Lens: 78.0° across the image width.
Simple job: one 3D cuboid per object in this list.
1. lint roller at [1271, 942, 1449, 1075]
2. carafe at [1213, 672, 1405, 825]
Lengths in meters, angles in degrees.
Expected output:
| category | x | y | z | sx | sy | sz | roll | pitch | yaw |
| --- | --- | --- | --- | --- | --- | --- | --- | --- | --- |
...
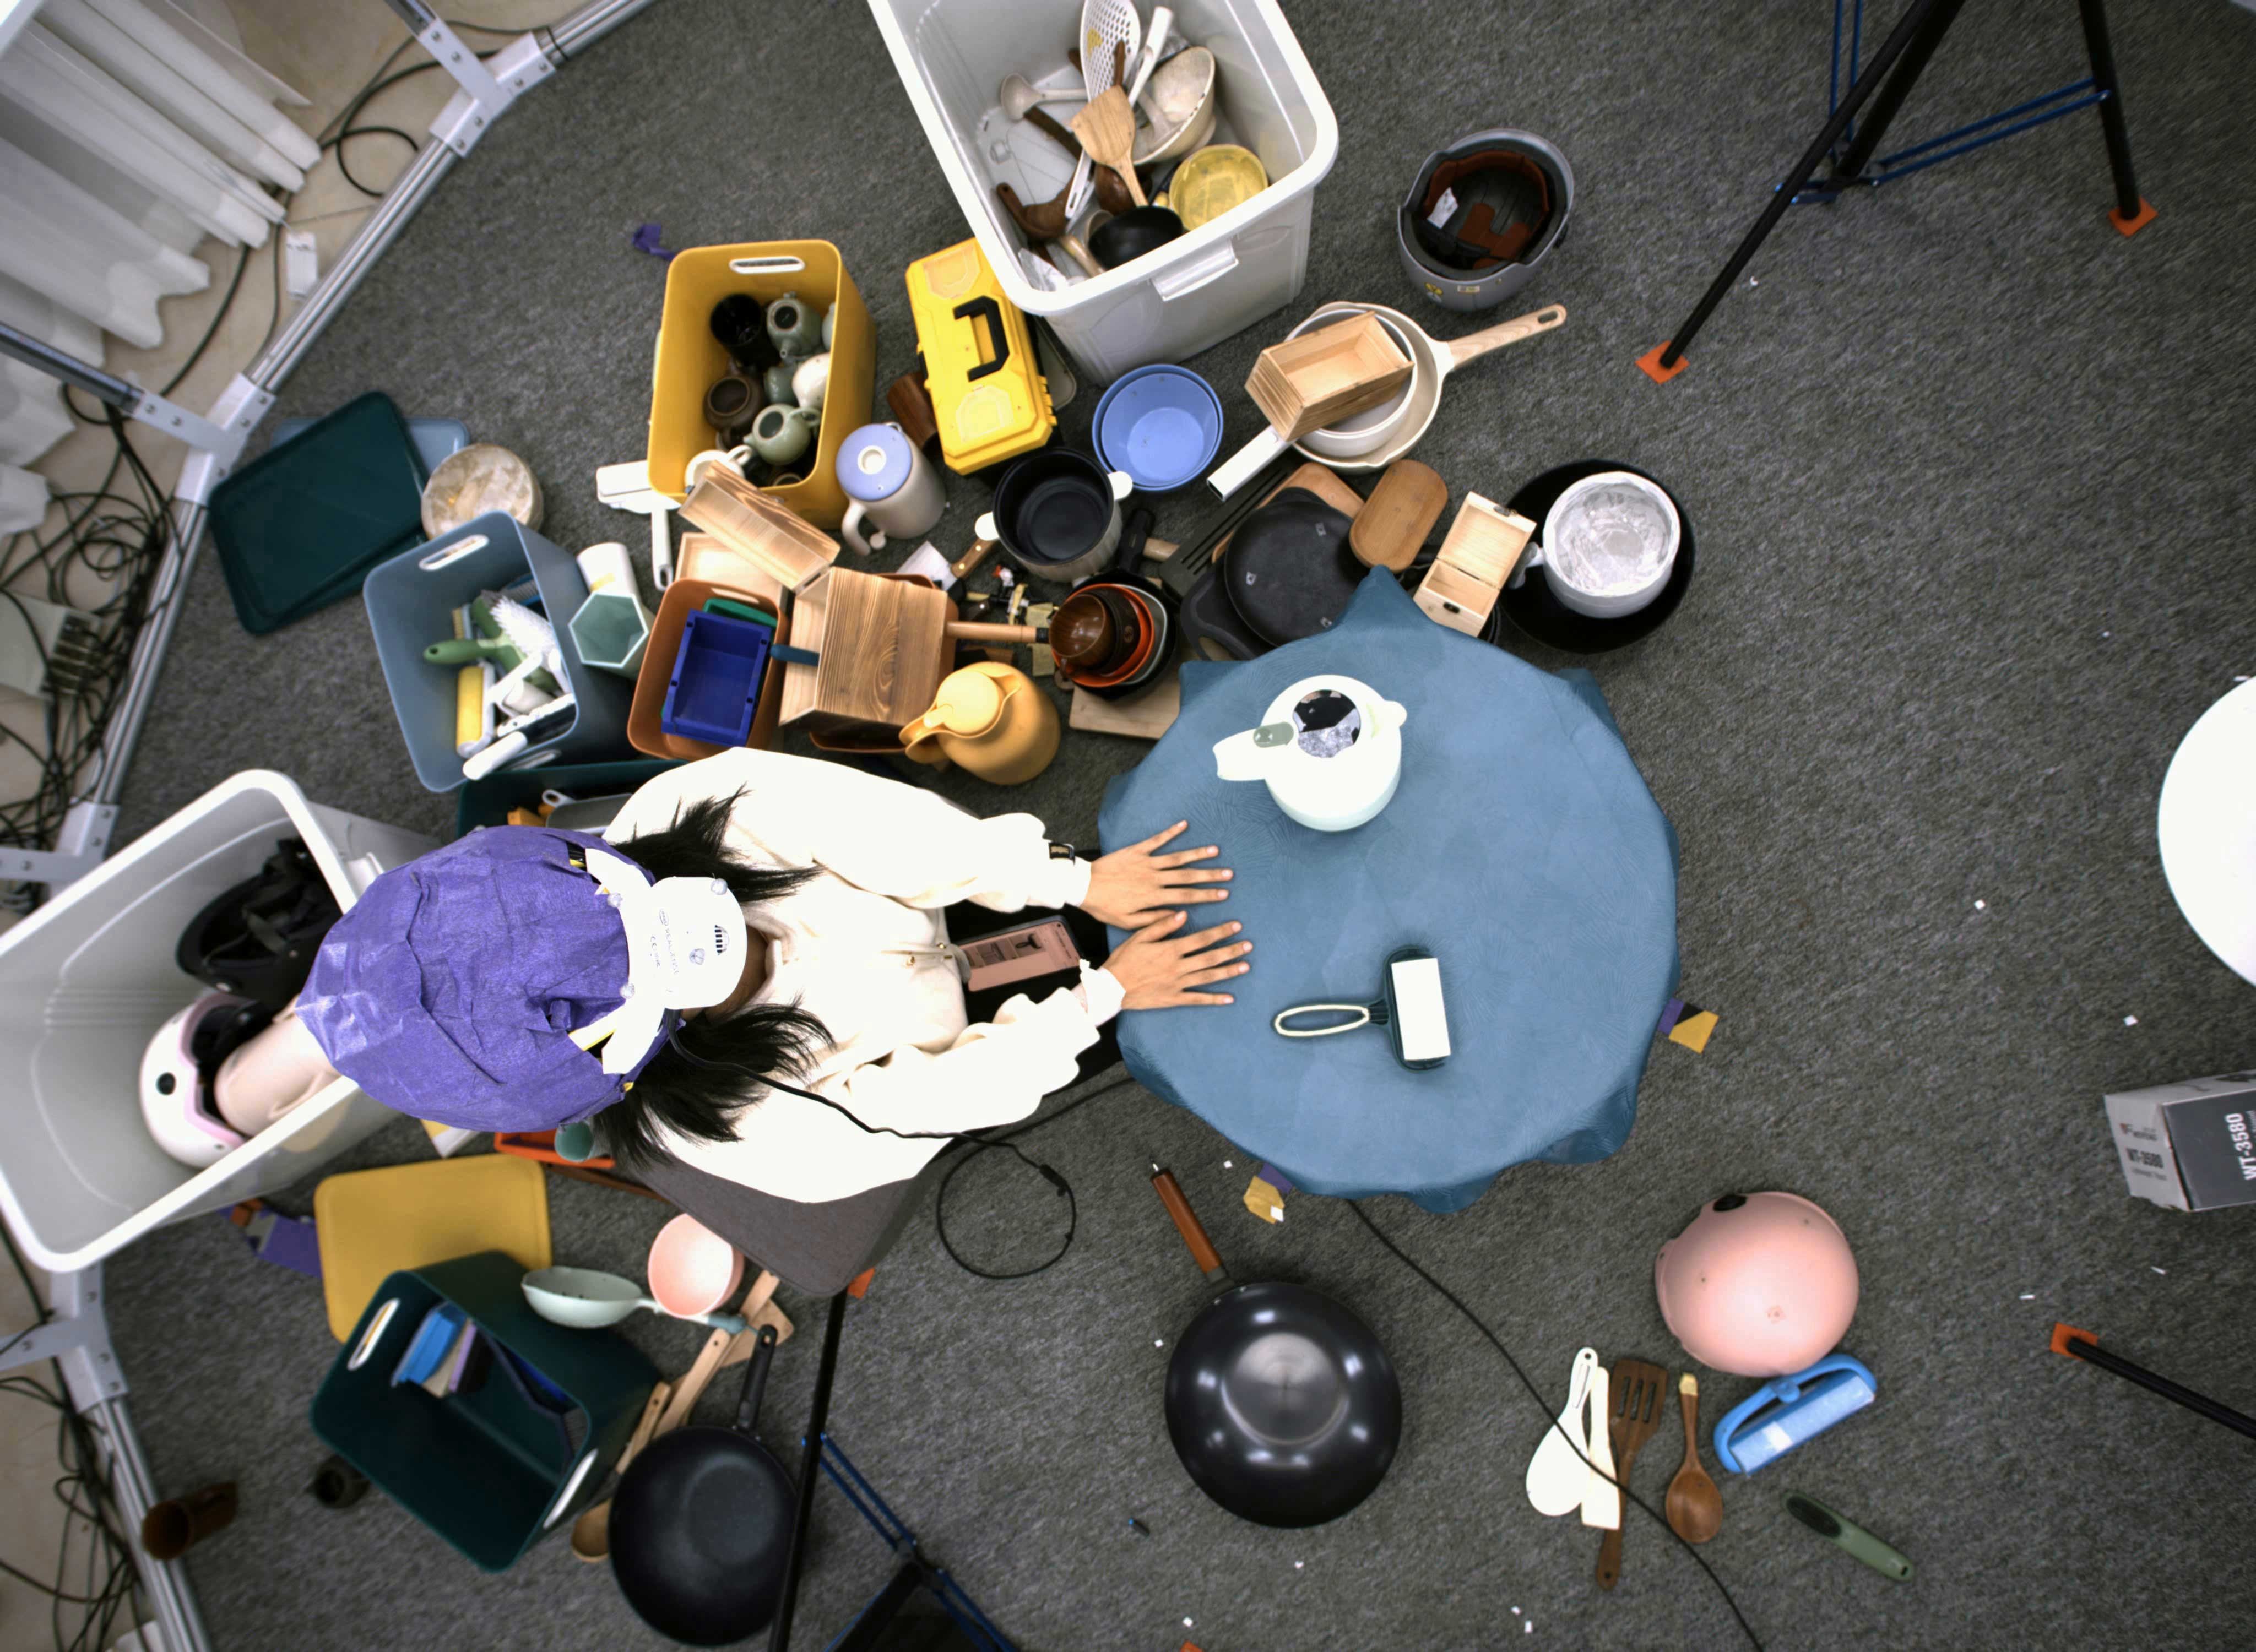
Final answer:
| category | x | y | z | sx | sy | sz | roll | pitch | yaw |
| --- | --- | --- | --- | --- | --- | --- | --- | --- | --- |
| lint roller | 0.236 | 0.195 | 1.435 | 0.181 | 0.048 | 0.133 | -7 | 84 | 10 |
| carafe | 0.183 | -0.079 | 1.358 | 0.188 | 0.256 | 0.143 | -11 | 85 | 13 |
